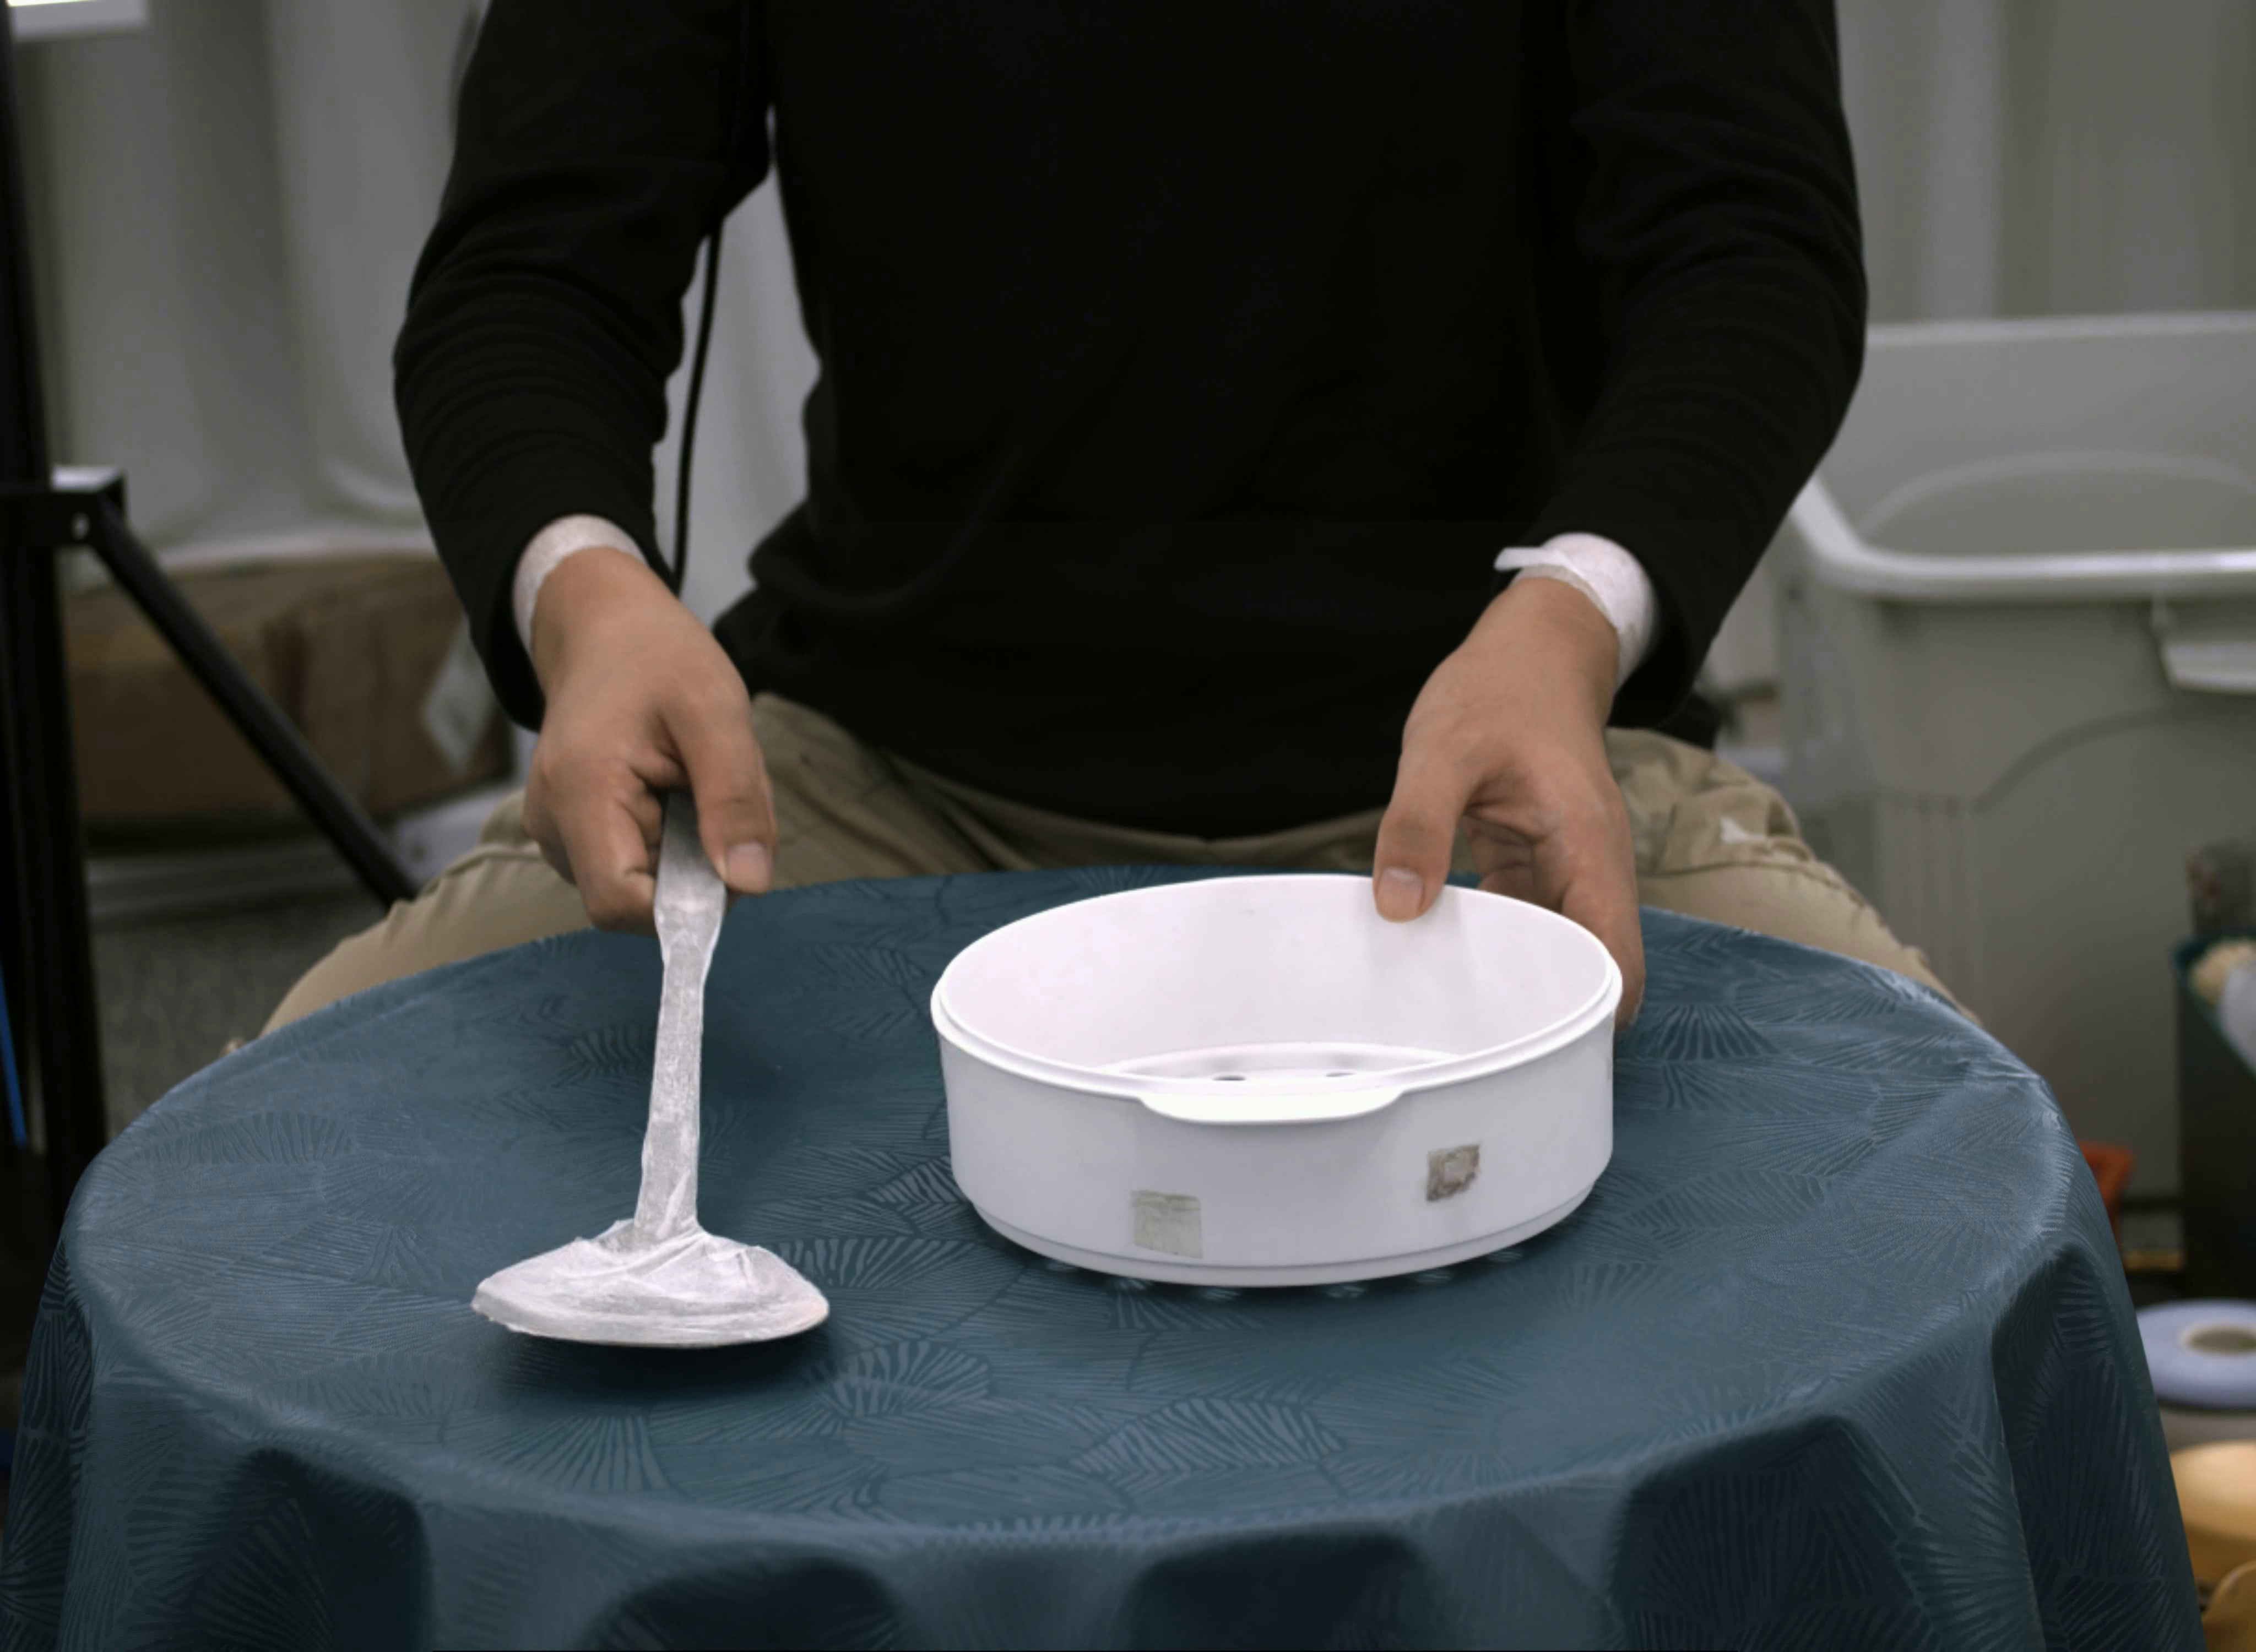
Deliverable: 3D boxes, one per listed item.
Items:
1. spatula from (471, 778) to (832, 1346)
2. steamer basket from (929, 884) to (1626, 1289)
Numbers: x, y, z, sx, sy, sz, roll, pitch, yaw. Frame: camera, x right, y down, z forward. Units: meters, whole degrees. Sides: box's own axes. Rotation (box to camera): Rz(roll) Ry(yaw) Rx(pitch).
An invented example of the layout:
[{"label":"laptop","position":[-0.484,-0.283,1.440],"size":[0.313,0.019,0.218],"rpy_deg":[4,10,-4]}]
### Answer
[{"label":"spatula","position":[-0.129,0.060,1.578],"size":[0.098,0.044,0.368],"rpy_deg":[-1,31,1]},{"label":"steamer basket","position":[0.043,0.075,1.538],"size":[0.202,0.069,0.231],"rpy_deg":[0,15,4]}]
